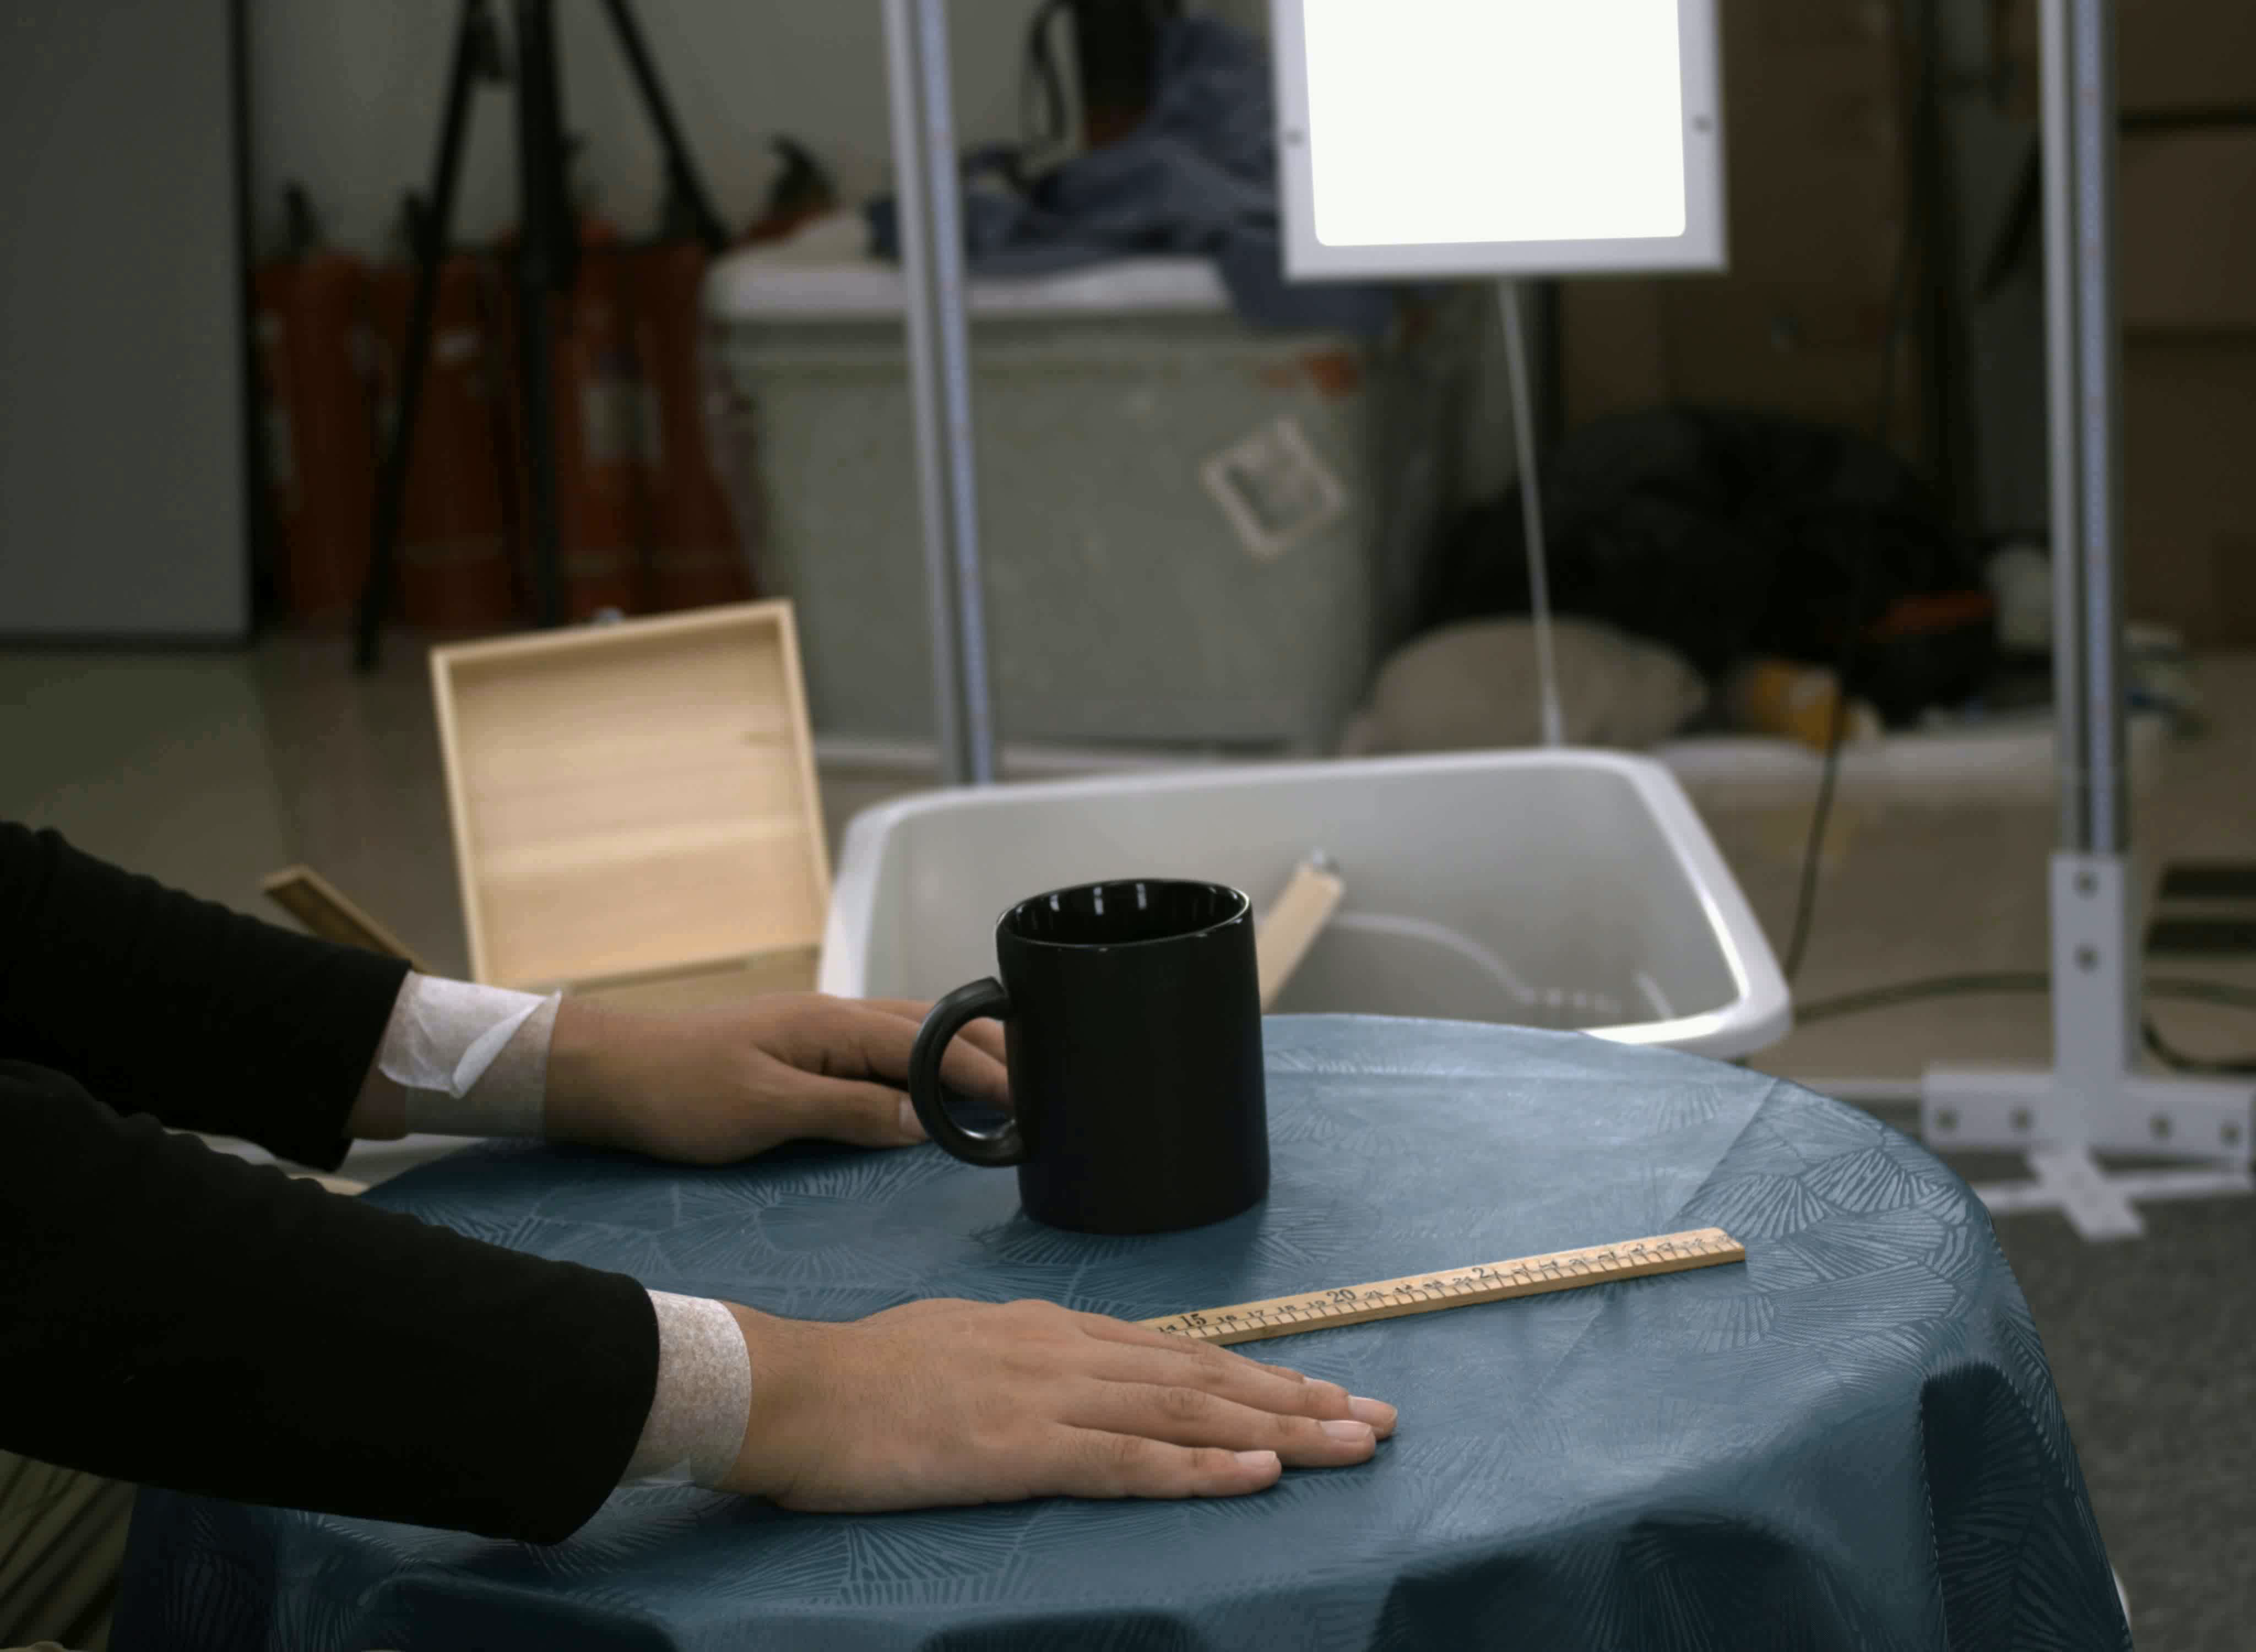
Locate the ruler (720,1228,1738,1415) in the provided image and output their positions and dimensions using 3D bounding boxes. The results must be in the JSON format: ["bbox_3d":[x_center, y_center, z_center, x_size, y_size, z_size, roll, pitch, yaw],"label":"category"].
[{"bbox_3d":[0.035,0.155,1.747,0.328,0.022,0.027,-7,9,-10],"label":"ruler"}]

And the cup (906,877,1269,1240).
[{"bbox_3d":[-0.015,0.081,1.876,0.122,0.105,0.089,-8,16,-10],"label":"cup"}]
